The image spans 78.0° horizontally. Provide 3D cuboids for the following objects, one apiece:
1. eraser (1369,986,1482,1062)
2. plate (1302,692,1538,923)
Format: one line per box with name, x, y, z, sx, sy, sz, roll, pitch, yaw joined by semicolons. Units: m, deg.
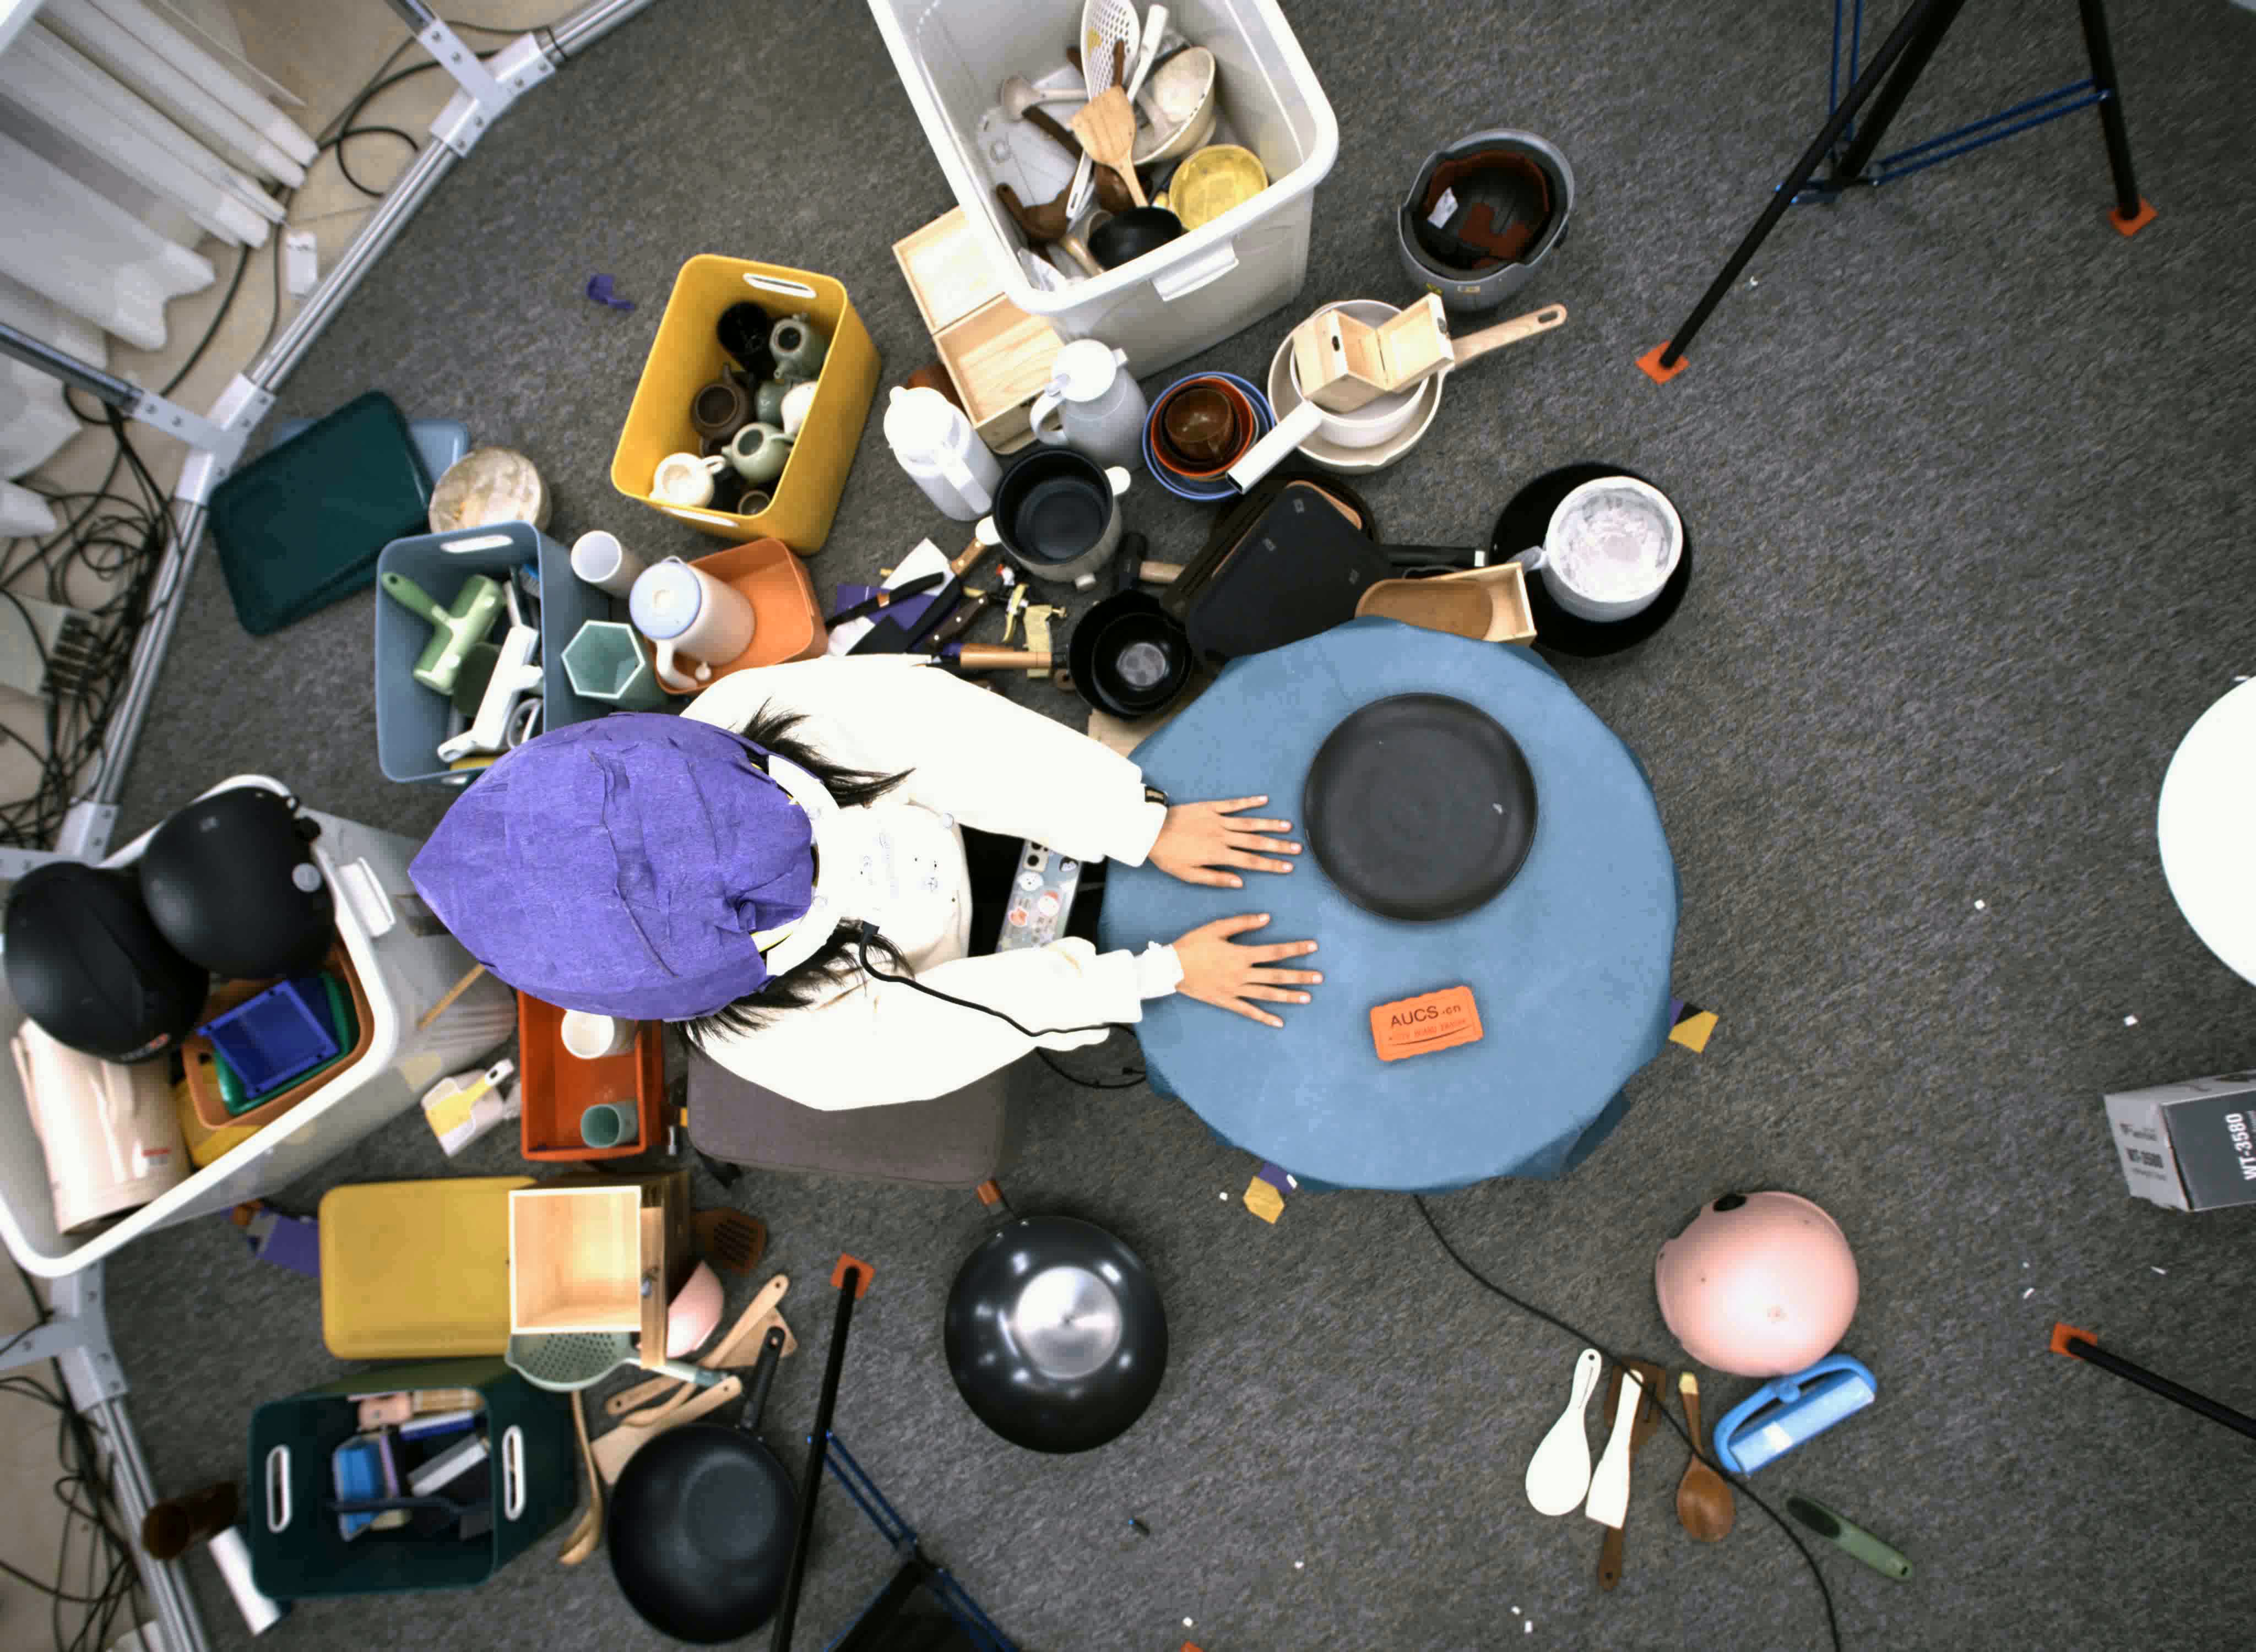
eraser;0.308;0.203;1.431;0.108;0.023;0.058;-15;85;7
plate;0.305;-0.021;1.447;0.245;0.023;0.243;-1;87;11
